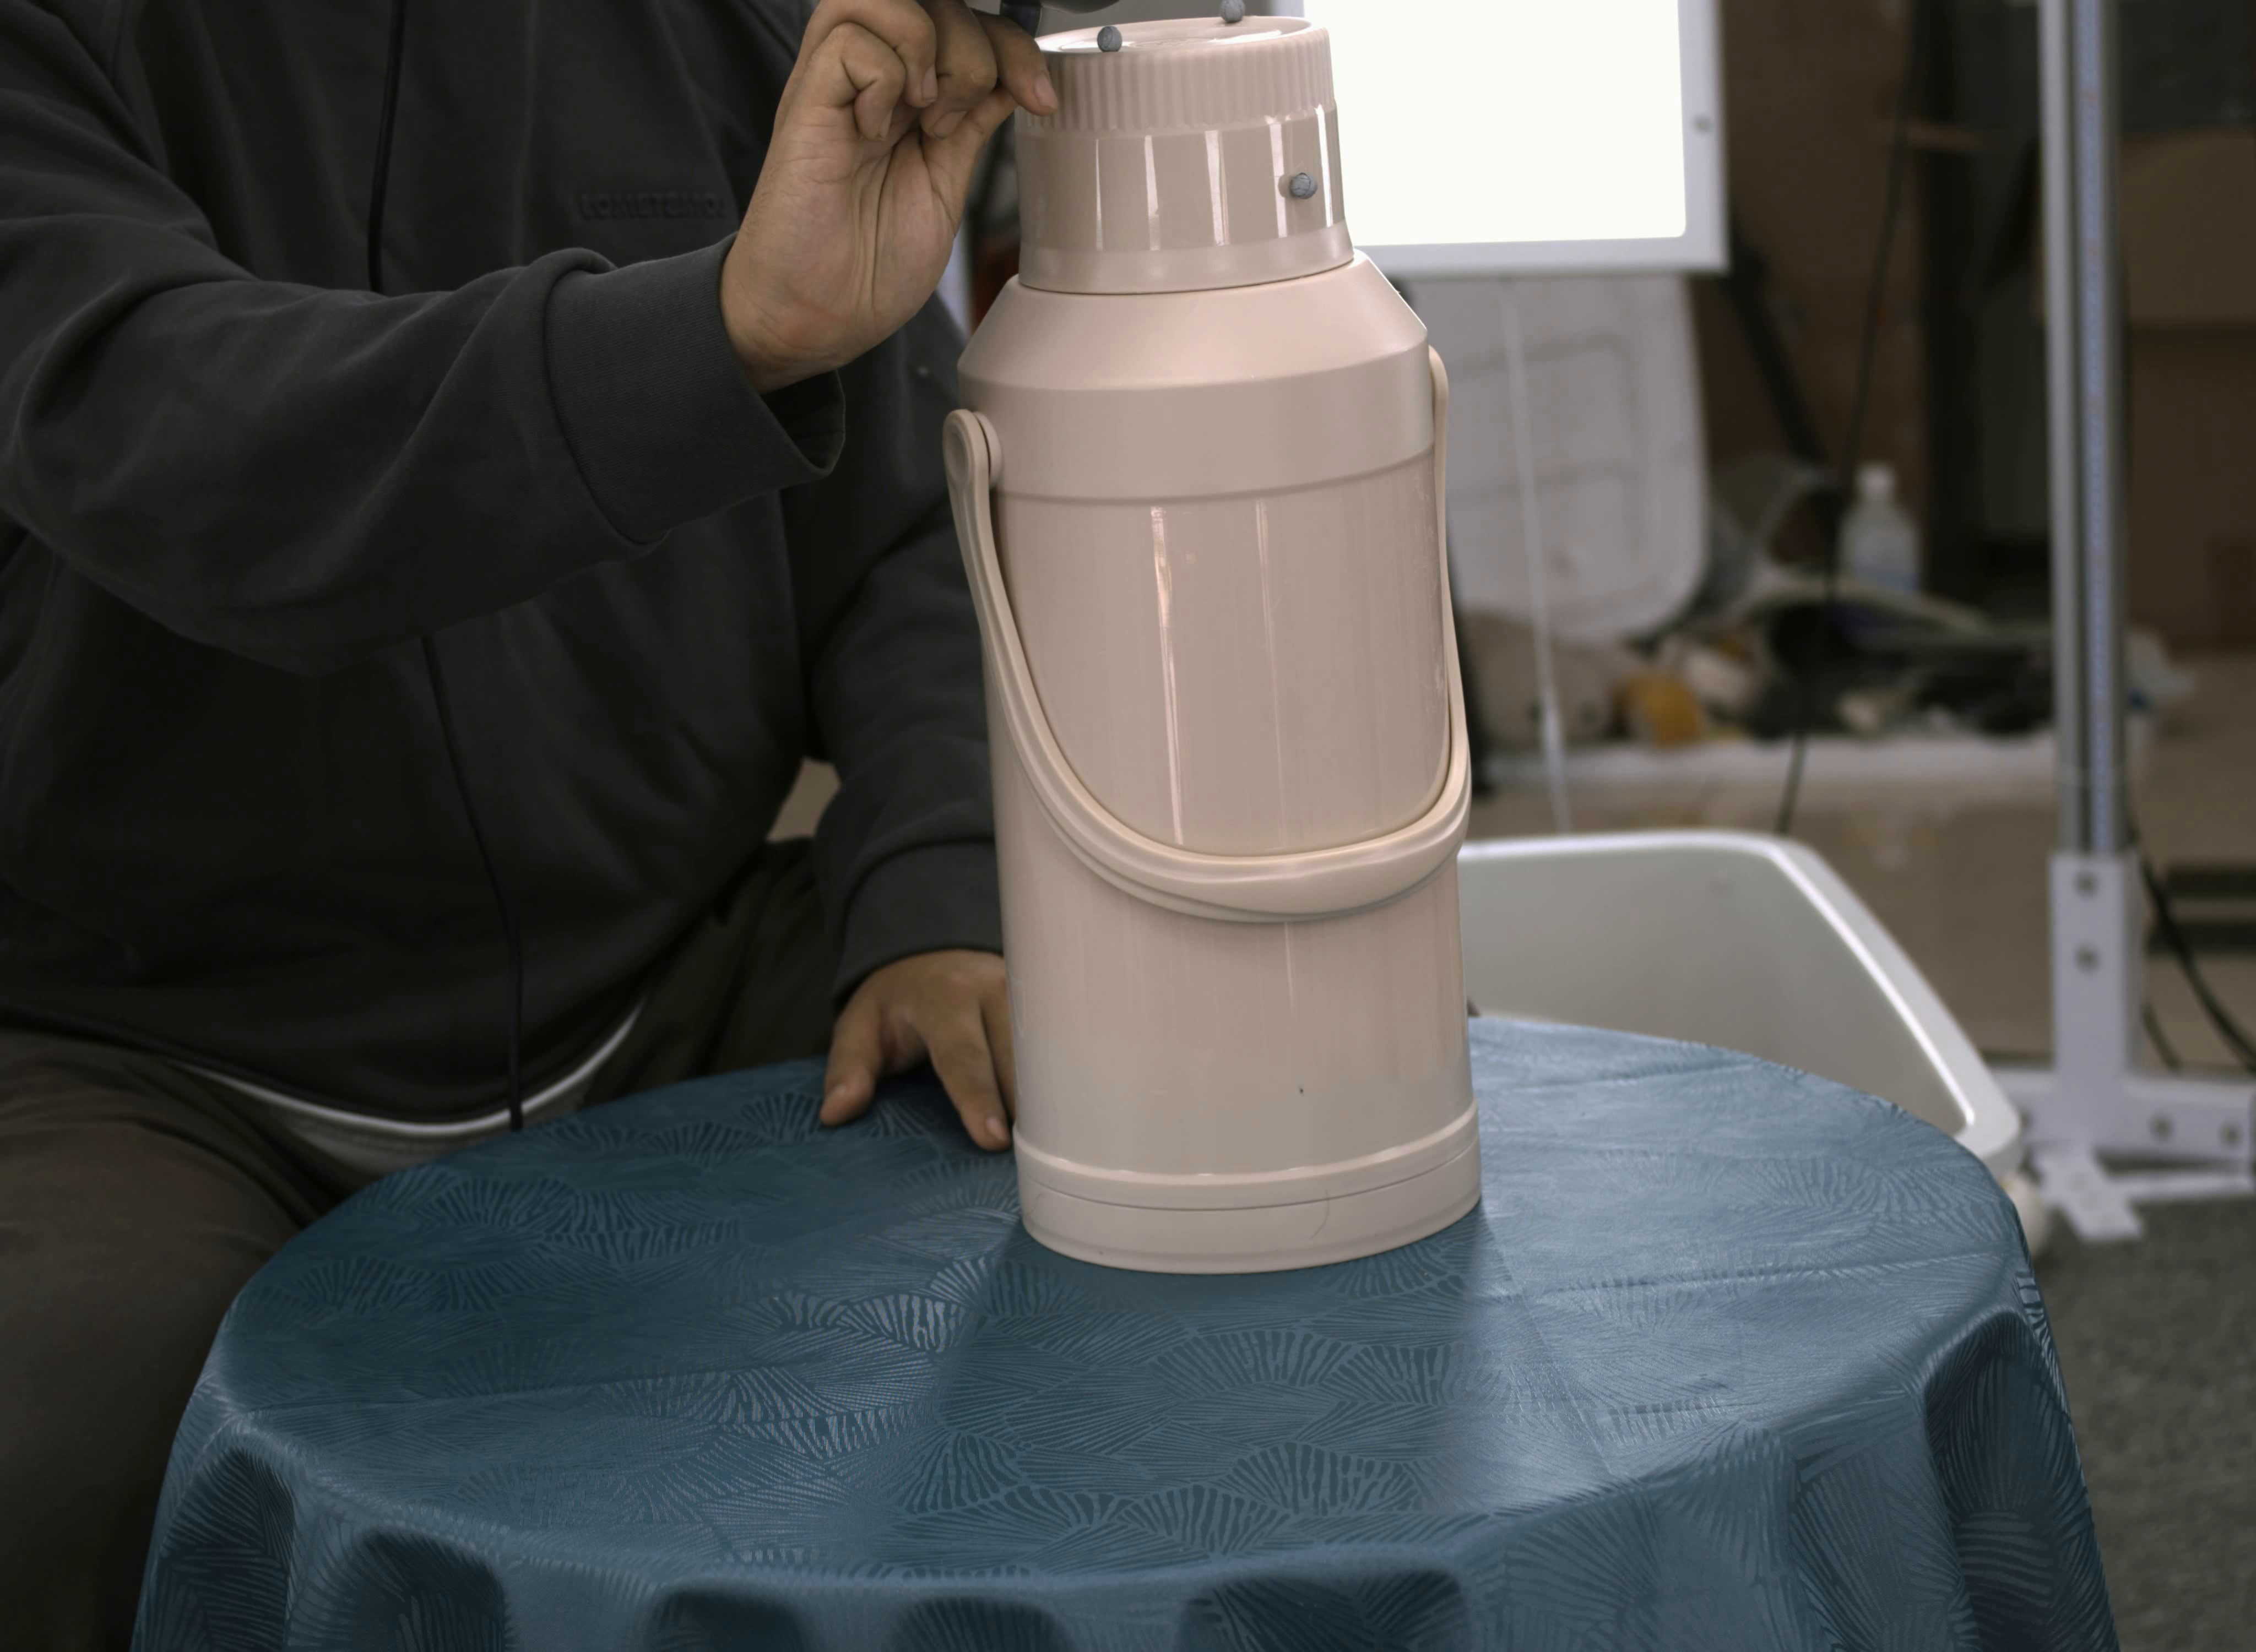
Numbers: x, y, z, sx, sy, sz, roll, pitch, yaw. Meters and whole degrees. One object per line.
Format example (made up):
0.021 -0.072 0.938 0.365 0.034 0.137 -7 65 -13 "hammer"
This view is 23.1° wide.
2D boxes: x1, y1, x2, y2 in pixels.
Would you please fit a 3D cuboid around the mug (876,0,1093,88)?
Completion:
-0.044 -0.293 1.727 0.088 0.124 0.095 11 7 -46 "mug"

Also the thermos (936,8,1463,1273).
0.020 -0.067 1.843 0.172 0.408 0.210 -10 15 -23 "thermos"
